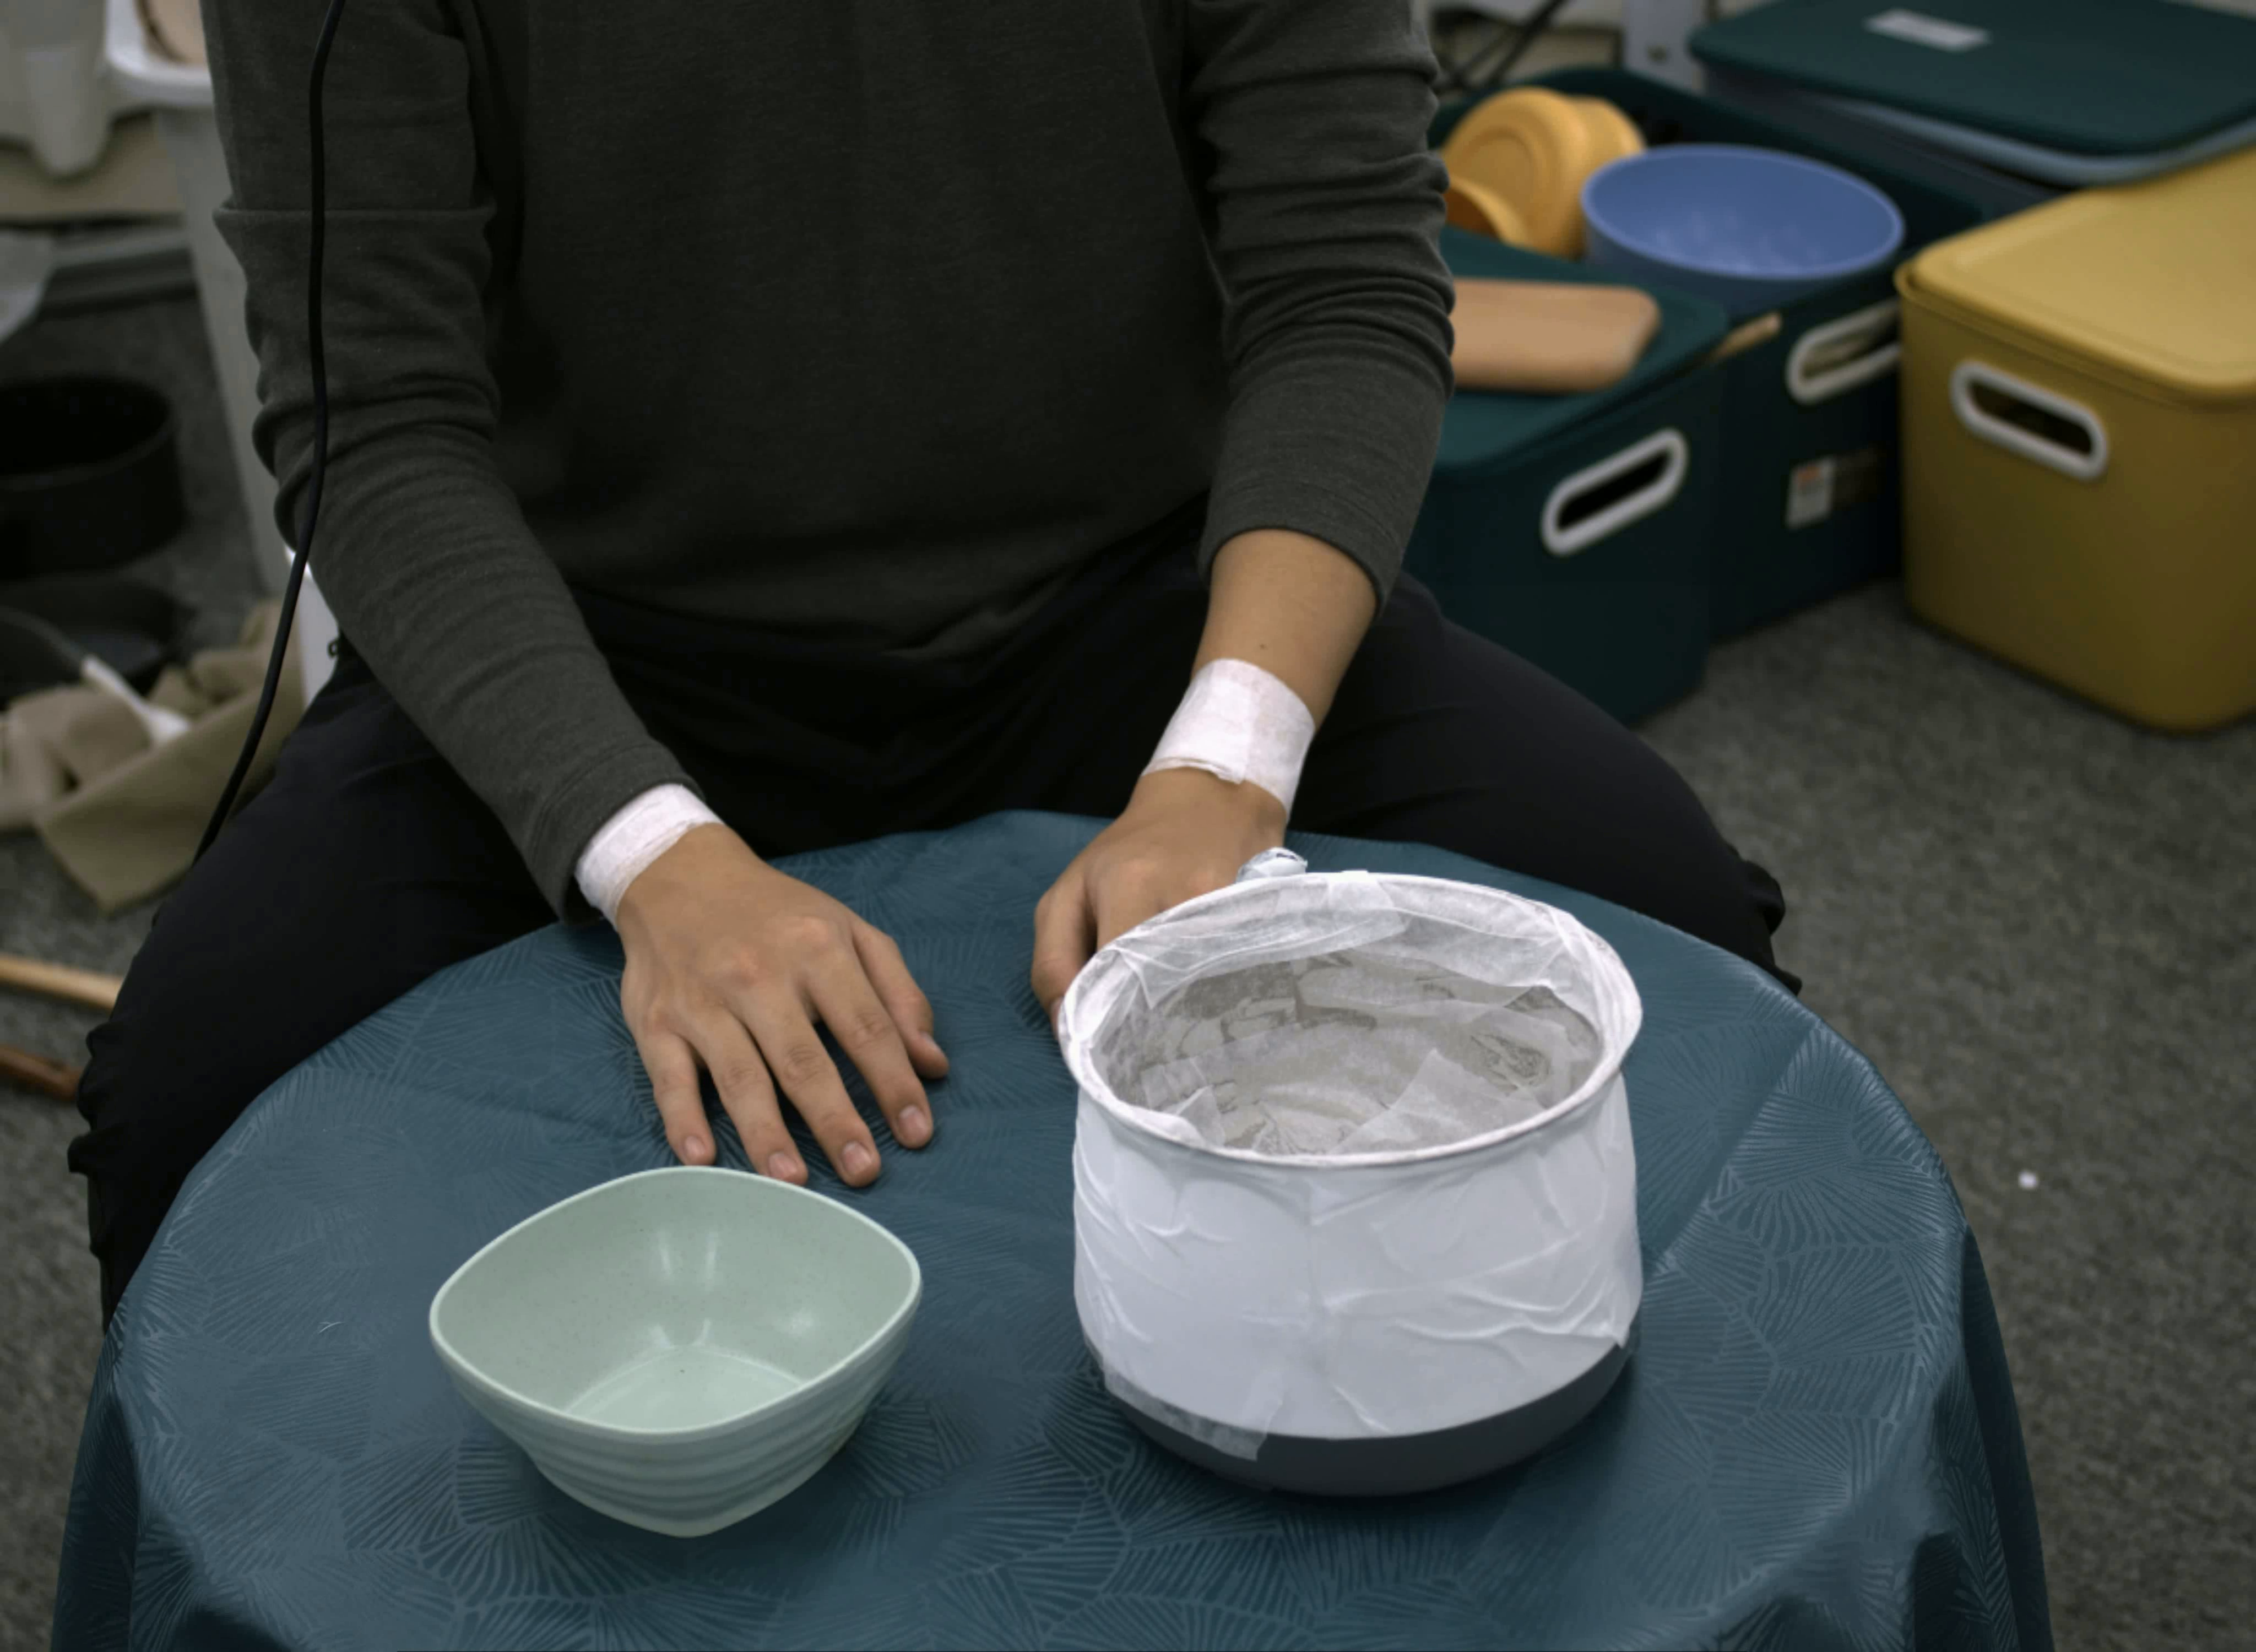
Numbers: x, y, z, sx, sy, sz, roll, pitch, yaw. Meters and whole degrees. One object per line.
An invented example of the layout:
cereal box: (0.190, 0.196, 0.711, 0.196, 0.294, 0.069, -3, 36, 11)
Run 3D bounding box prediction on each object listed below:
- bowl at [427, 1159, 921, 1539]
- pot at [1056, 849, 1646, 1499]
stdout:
bowl: (-0.138, 0.167, 1.725, 0.151, 0.058, 0.154, -1, 29, 1)
pot: (0.064, 0.100, 1.752, 0.178, 0.135, 0.236, -8, 27, -9)
